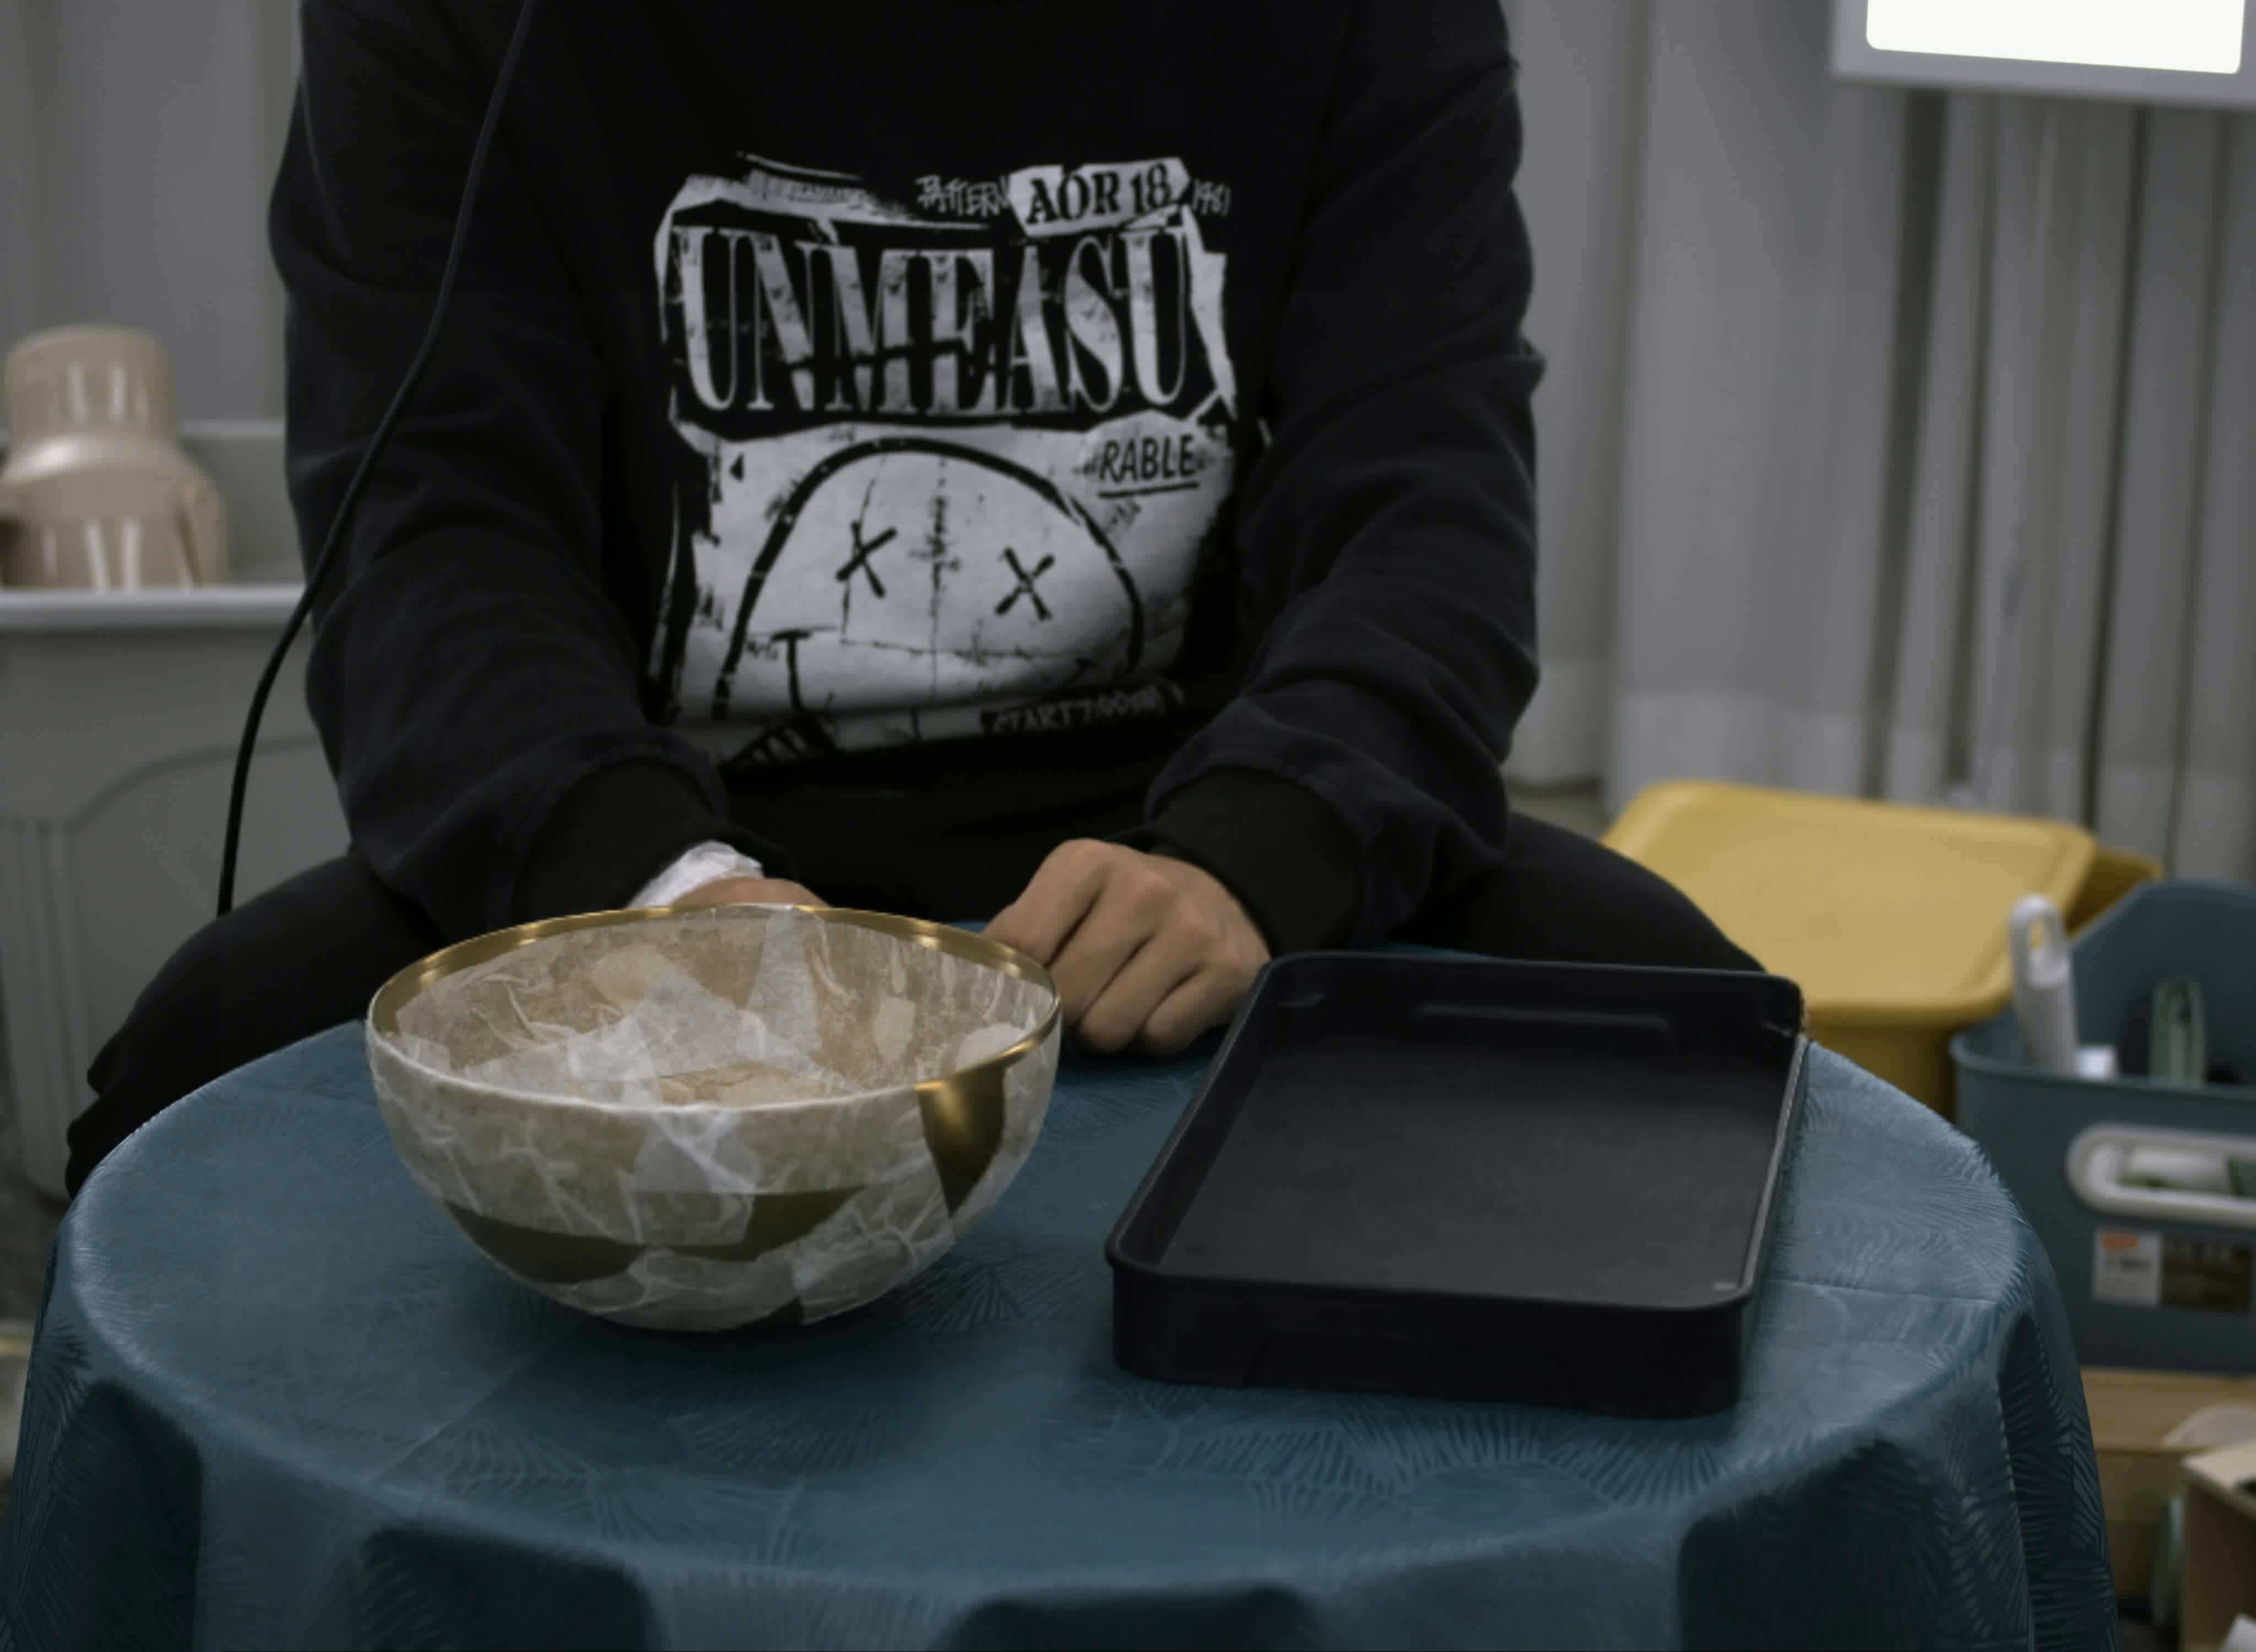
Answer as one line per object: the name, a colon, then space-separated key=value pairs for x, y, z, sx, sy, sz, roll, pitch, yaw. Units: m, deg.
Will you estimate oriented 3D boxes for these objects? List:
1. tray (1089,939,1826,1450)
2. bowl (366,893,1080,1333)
tray: x=0.107 y=0.105 z=1.601 sx=0.183 sy=0.037 sz=0.317 roll=5 pitch=18 yaw=11
bowl: x=-0.115 y=0.091 z=1.526 sx=0.214 sy=0.095 sz=0.213 roll=0 pitch=16 yaw=1
